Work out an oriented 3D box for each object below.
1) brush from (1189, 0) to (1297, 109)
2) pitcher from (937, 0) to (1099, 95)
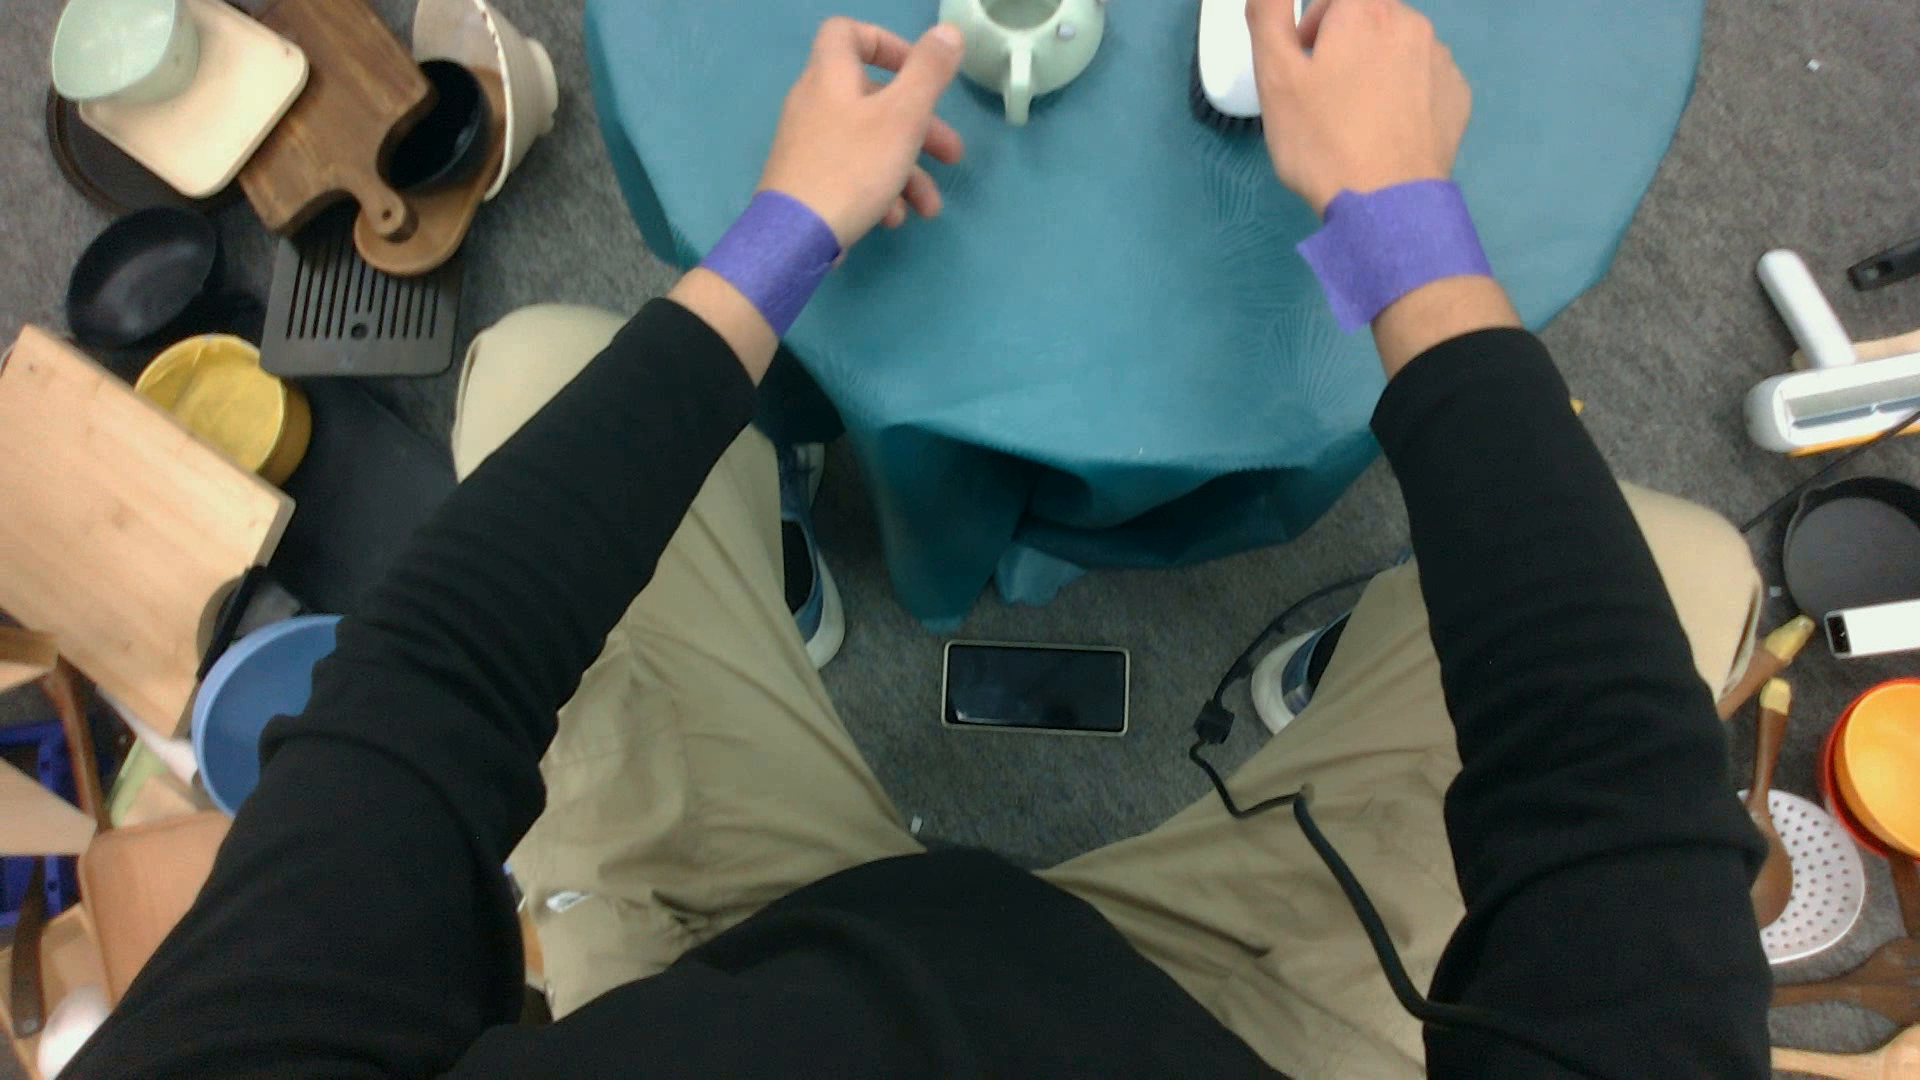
[{"bbox_3d":[0.145,-0.278,0.689,0.050,0.072,0.099,8,82,4],"label":"brush"},{"bbox_3d":[0.030,-0.279,0.703,0.086,0.060,0.108,-1,86,3],"label":"pitcher"}]
